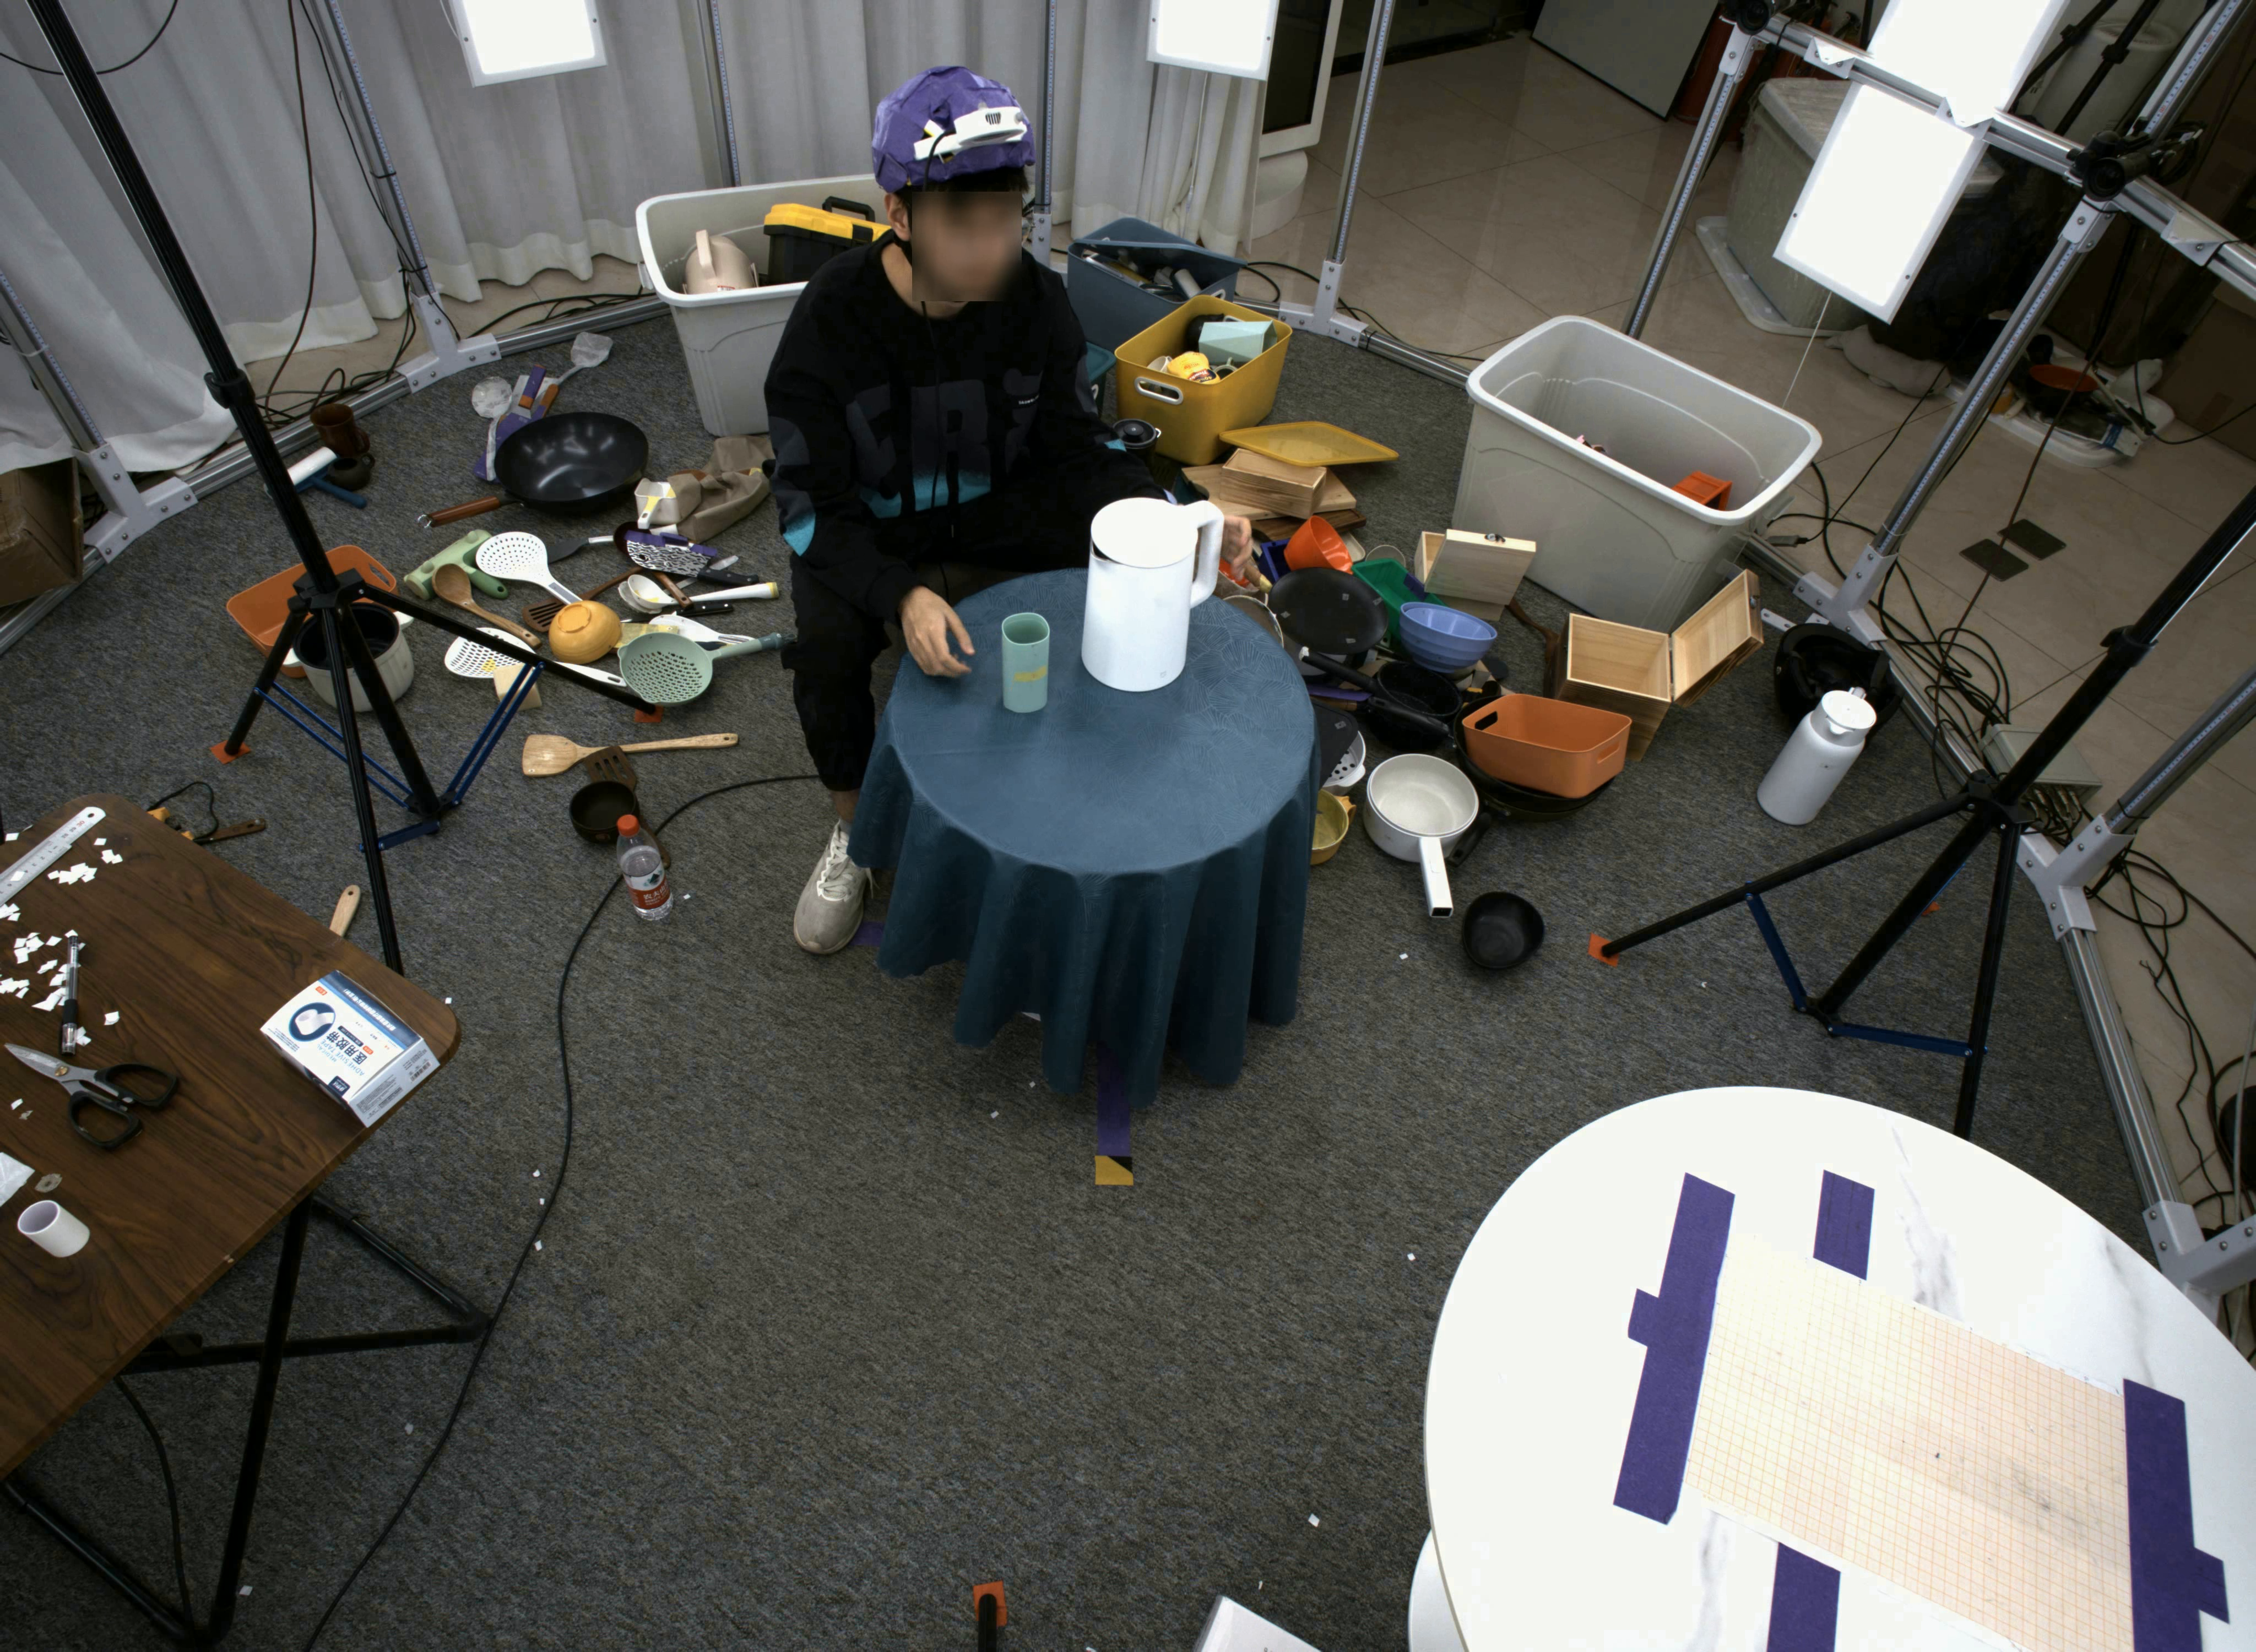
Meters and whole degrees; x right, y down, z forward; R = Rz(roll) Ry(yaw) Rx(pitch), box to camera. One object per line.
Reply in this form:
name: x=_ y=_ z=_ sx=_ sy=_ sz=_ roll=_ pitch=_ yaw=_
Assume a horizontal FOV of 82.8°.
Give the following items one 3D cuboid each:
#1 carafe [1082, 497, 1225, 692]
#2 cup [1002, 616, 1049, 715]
carafe: x=0.038 y=-0.332 z=1.809 sx=0.214 sy=0.234 sz=0.155 roll=-26 pitch=57 yaw=-23
cup: x=-0.141 y=-0.221 z=1.771 sx=0.066 sy=0.129 sz=0.068 roll=2 pitch=50 yaw=-2
